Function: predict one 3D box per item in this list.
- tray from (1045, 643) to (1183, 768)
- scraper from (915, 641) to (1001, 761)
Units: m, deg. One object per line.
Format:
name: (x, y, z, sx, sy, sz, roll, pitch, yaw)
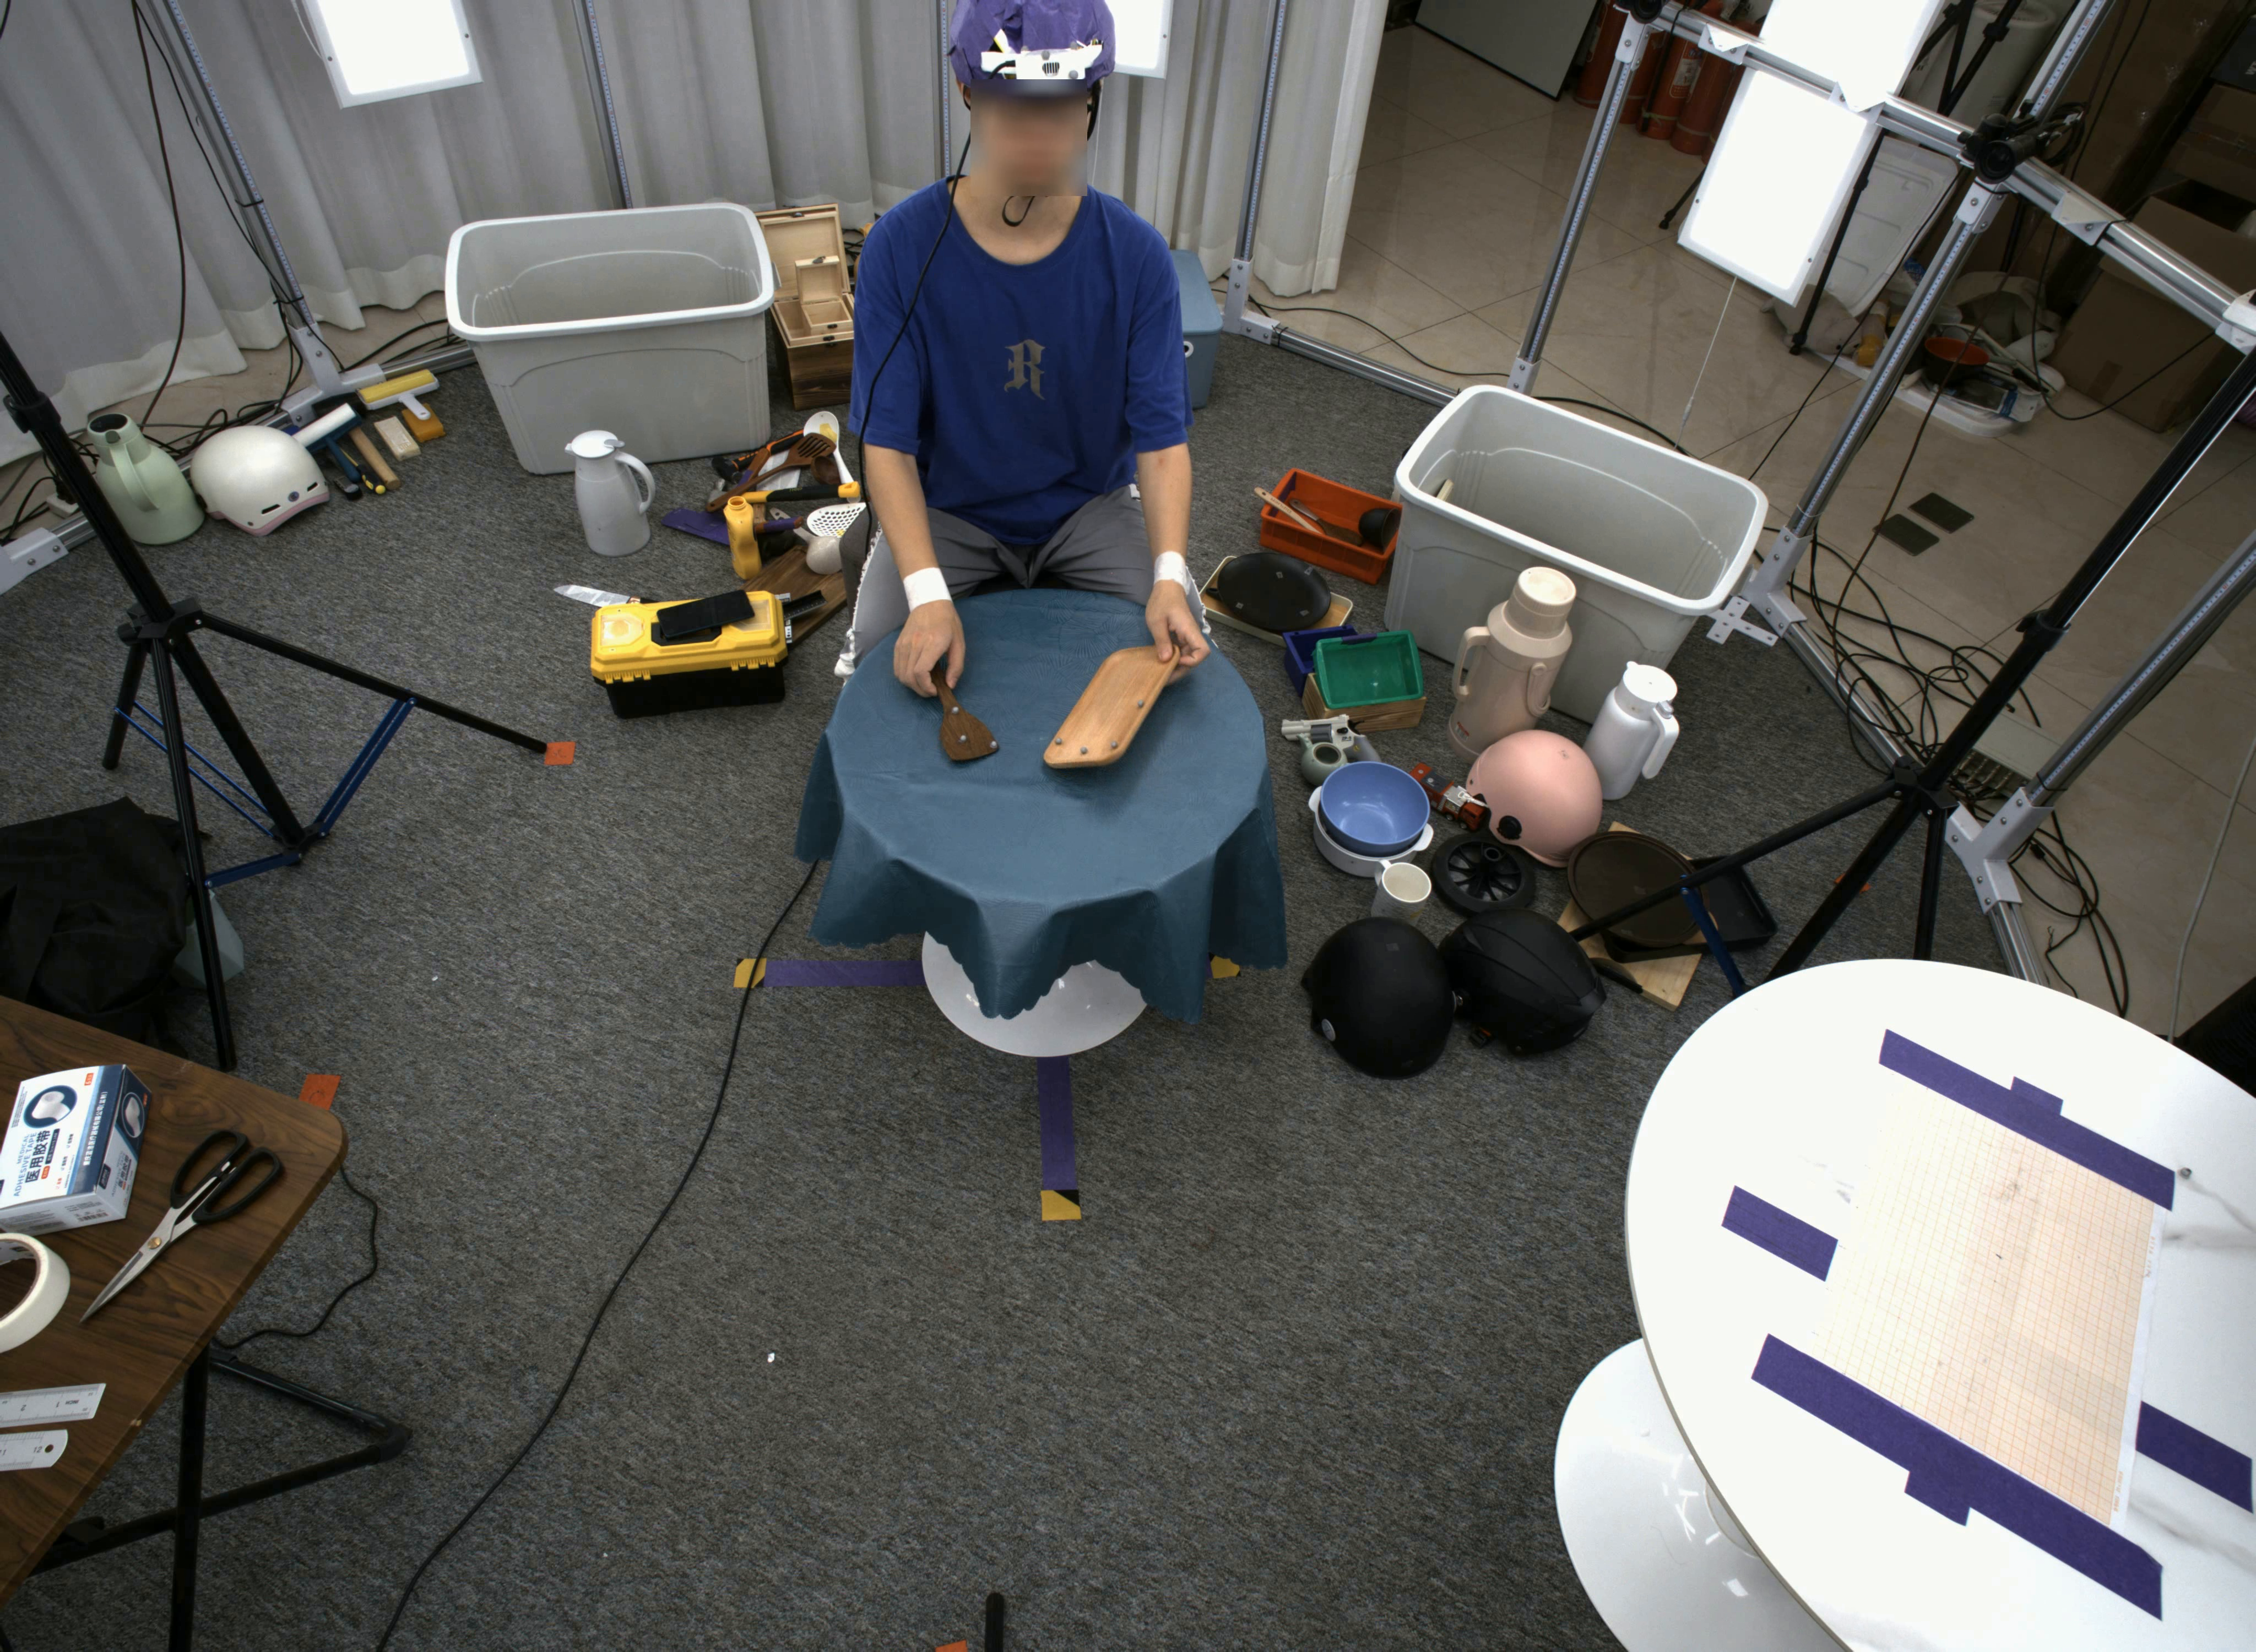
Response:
tray: (-0.017, -0.168, 1.772, 0.131, 0.022, 0.255, 3, 45, 32)
scraper: (-0.247, -0.176, 1.784, 0.076, 0.010, 0.215, -15, 61, -24)
